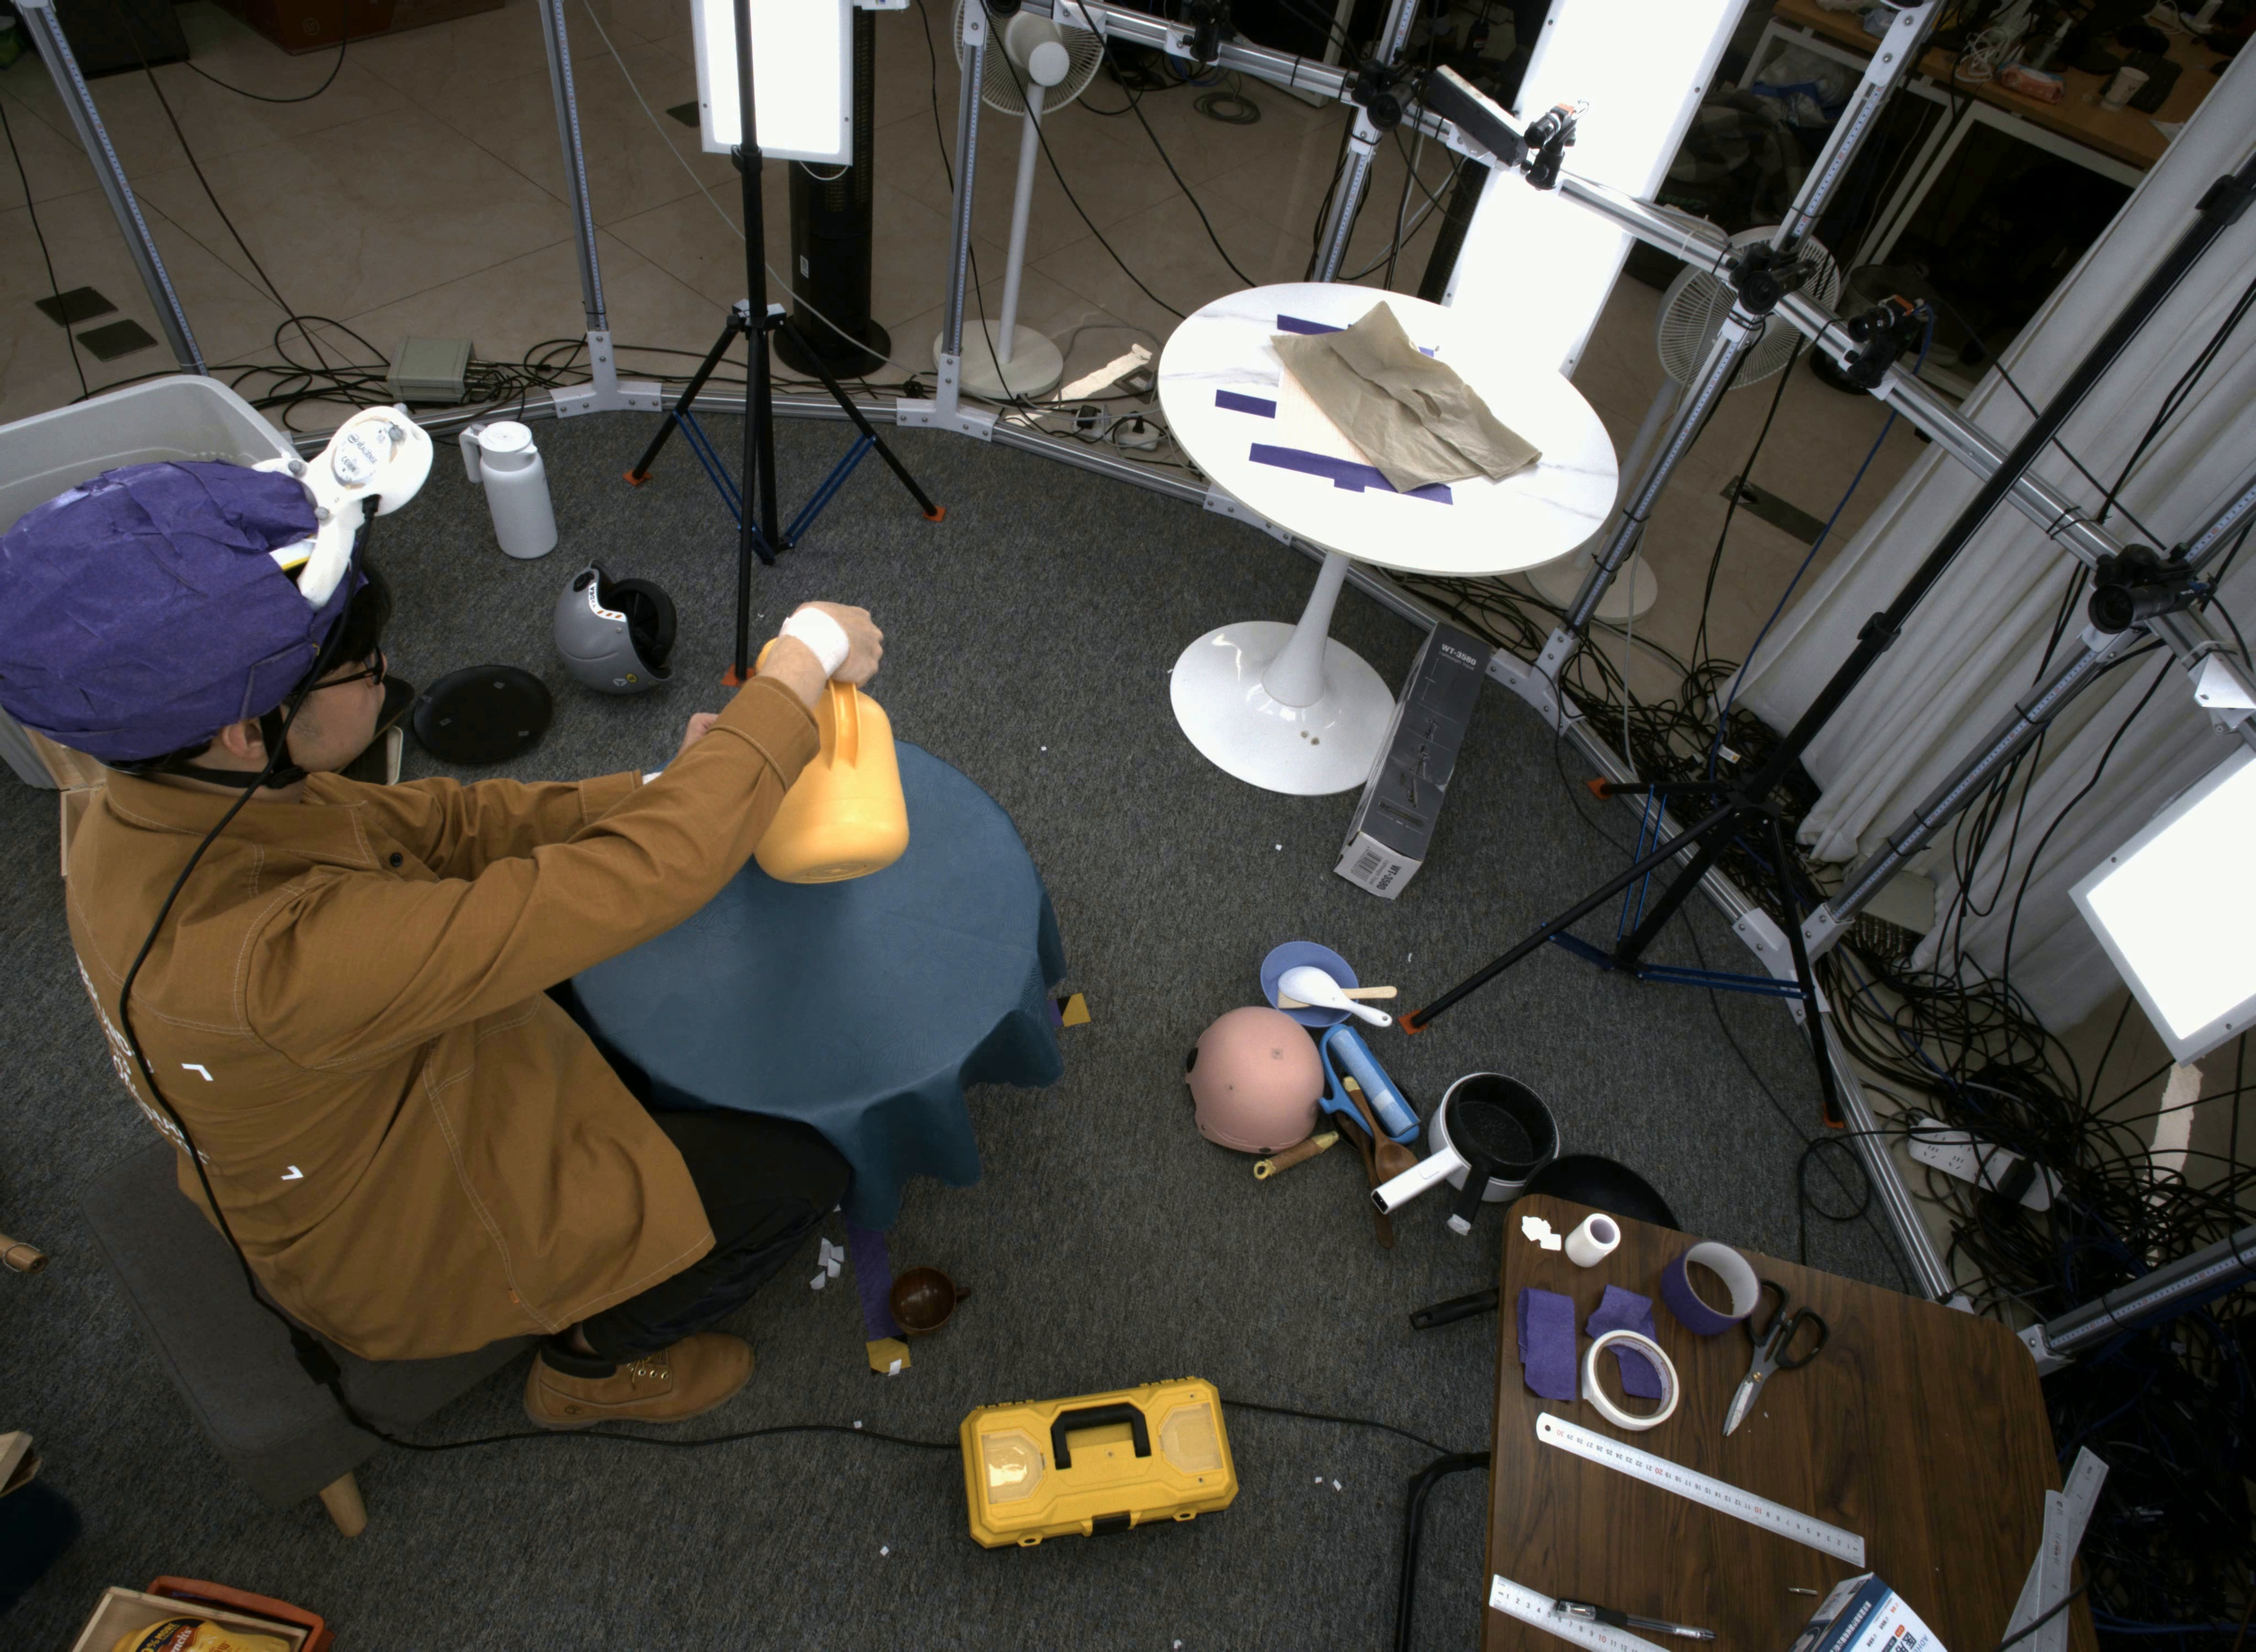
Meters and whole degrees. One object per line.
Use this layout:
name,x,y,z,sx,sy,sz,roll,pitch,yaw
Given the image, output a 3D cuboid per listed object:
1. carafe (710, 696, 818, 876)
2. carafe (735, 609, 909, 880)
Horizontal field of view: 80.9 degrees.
carafe,-0.429,-0.066,1.603,0.168,0.254,0.130,1,53,-12
carafe,-0.324,-0.090,1.347,0.165,0.200,0.261,-10,80,-27
